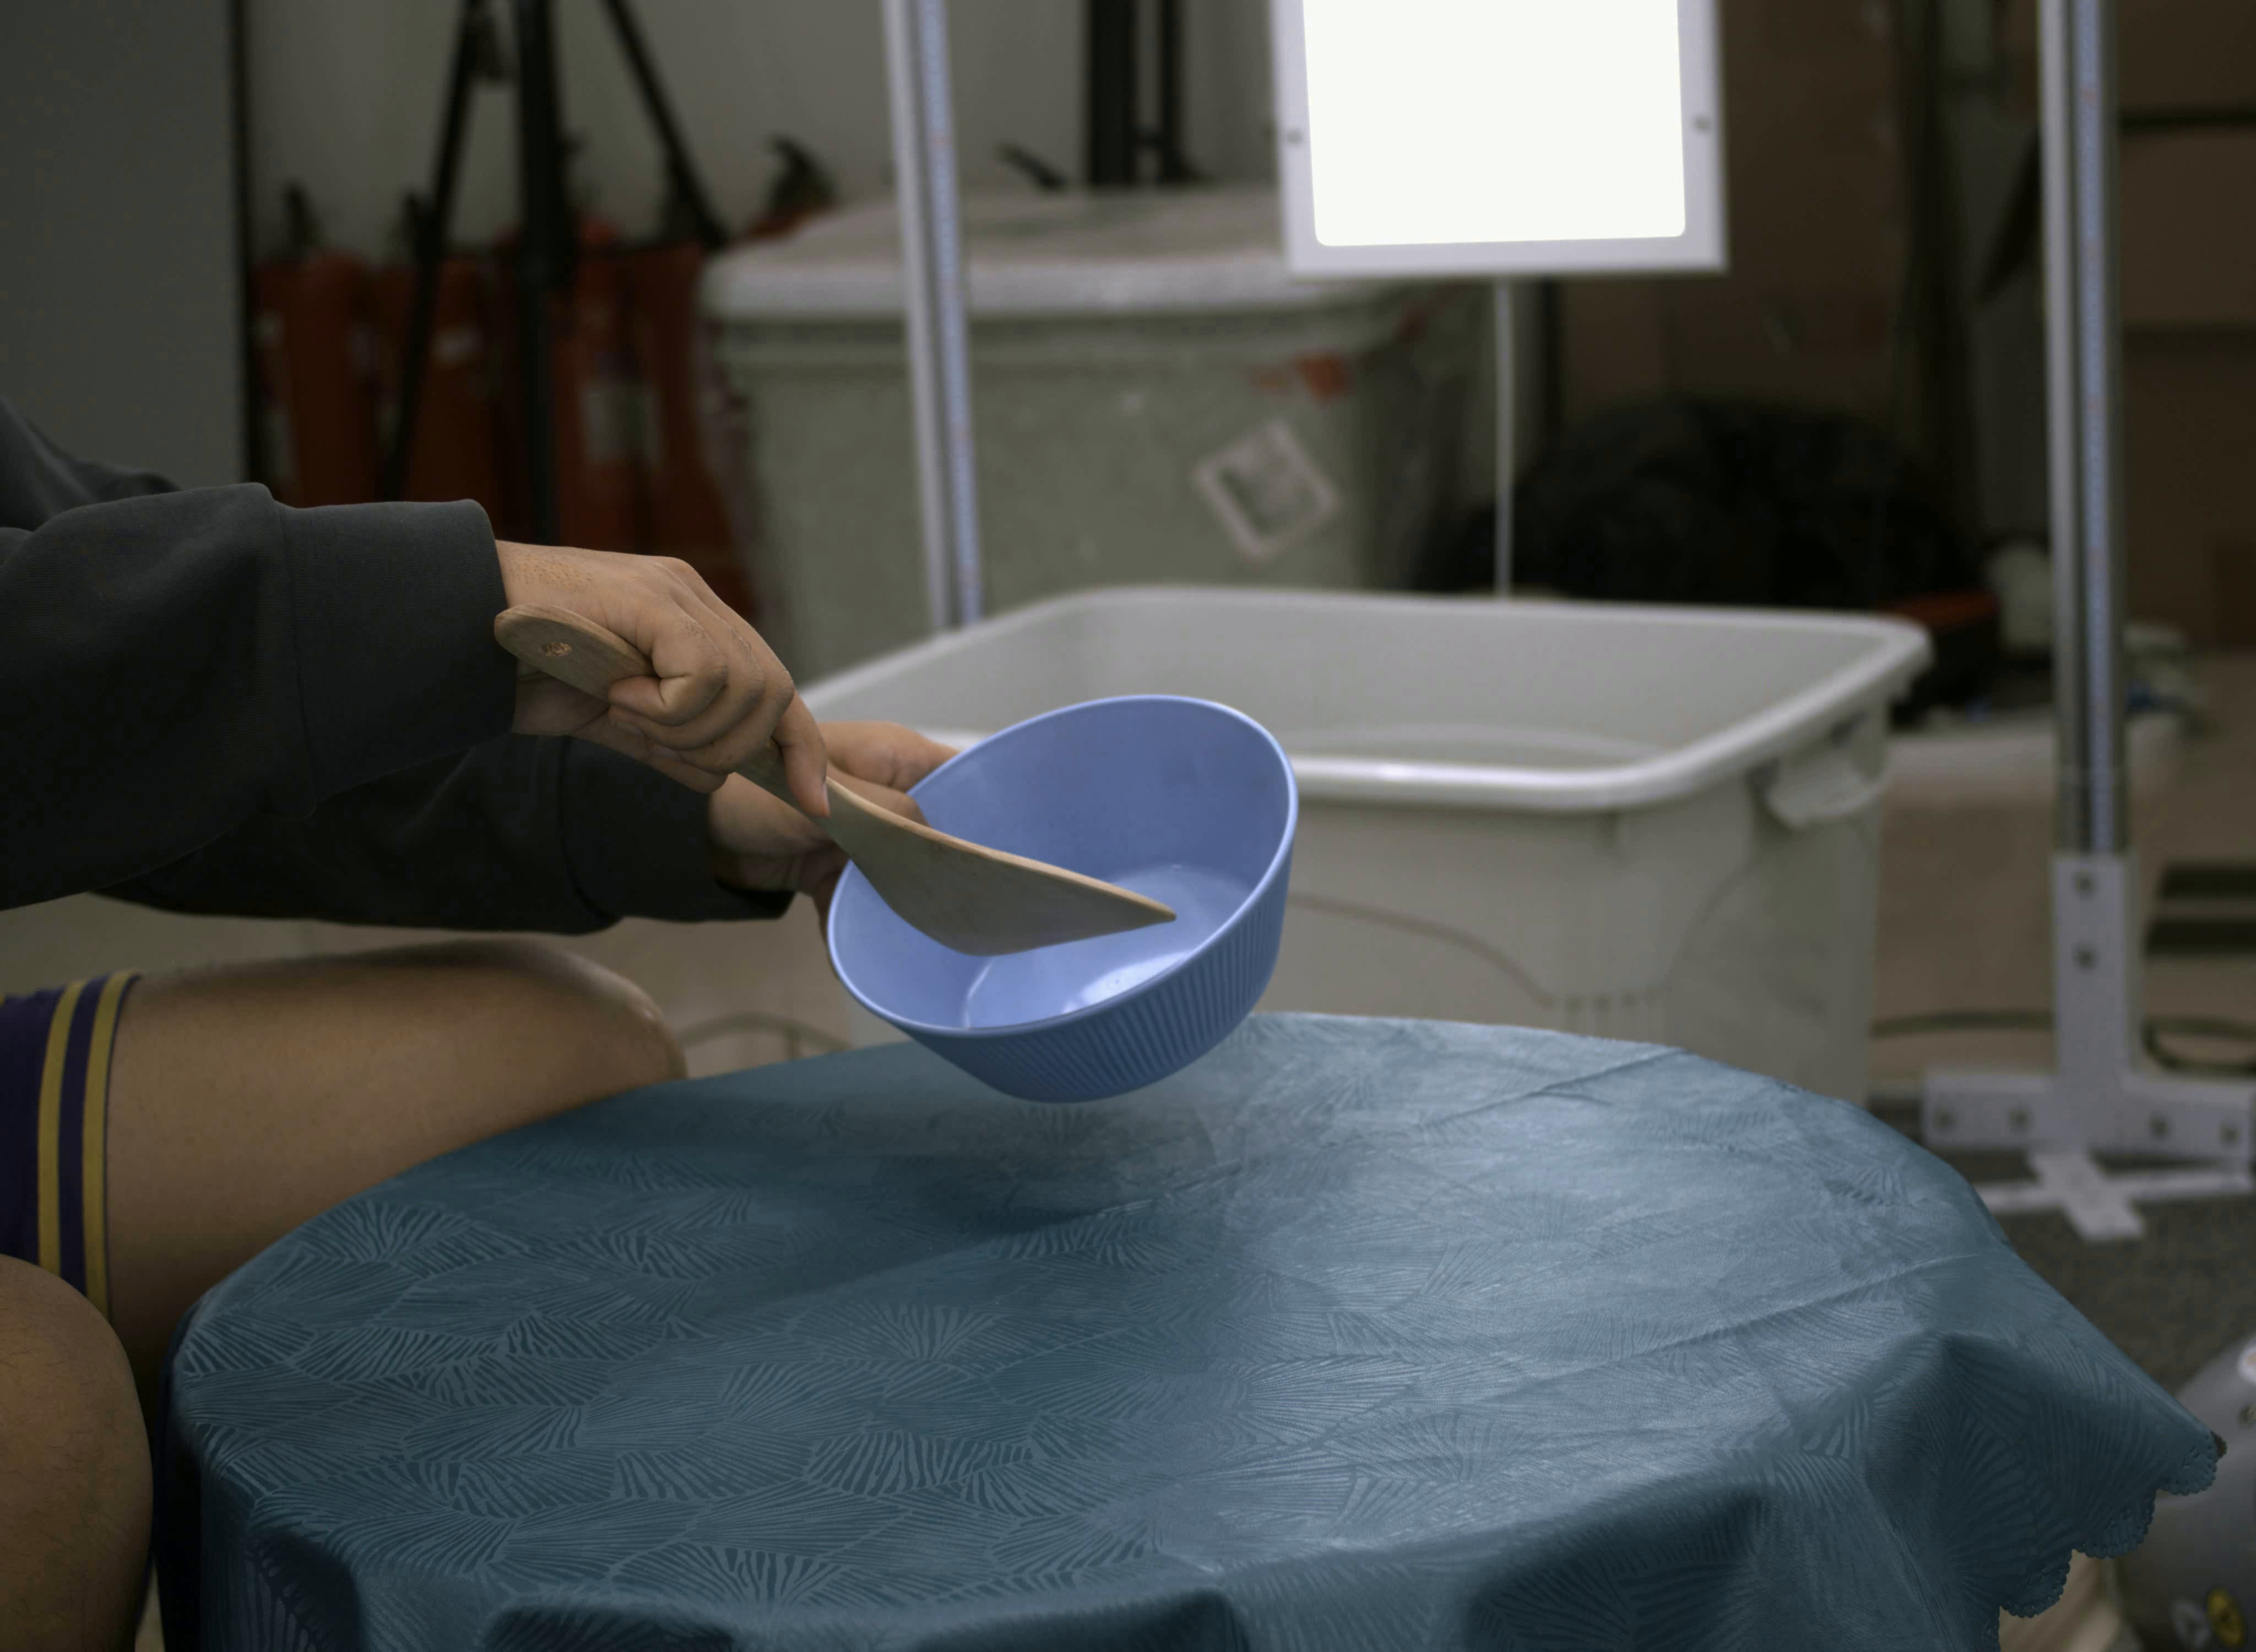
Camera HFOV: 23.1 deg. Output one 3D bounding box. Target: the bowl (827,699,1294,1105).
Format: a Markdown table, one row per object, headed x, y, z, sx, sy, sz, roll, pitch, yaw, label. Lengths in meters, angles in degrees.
| x | y | z | sx | sy | sz | roll | pitch | yaw | label |
| --- | --- | --- | --- | --- | --- | --- | --- | --- | --- |
| -0.014 | 0.036 | 1.950 | 0.177 | 0.070 | 0.175 | -18 | 37 | 12 | bowl |

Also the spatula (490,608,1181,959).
| x | y | z | sx | sy | sz | roll | pitch | yaw | label |
| --- | --- | --- | --- | --- | --- | --- | --- | --- | --- |
| -0.099 | -0.010 | 1.787 | 0.081 | 0.016 | 0.321 | -15 | -29 | 31 | spatula |
